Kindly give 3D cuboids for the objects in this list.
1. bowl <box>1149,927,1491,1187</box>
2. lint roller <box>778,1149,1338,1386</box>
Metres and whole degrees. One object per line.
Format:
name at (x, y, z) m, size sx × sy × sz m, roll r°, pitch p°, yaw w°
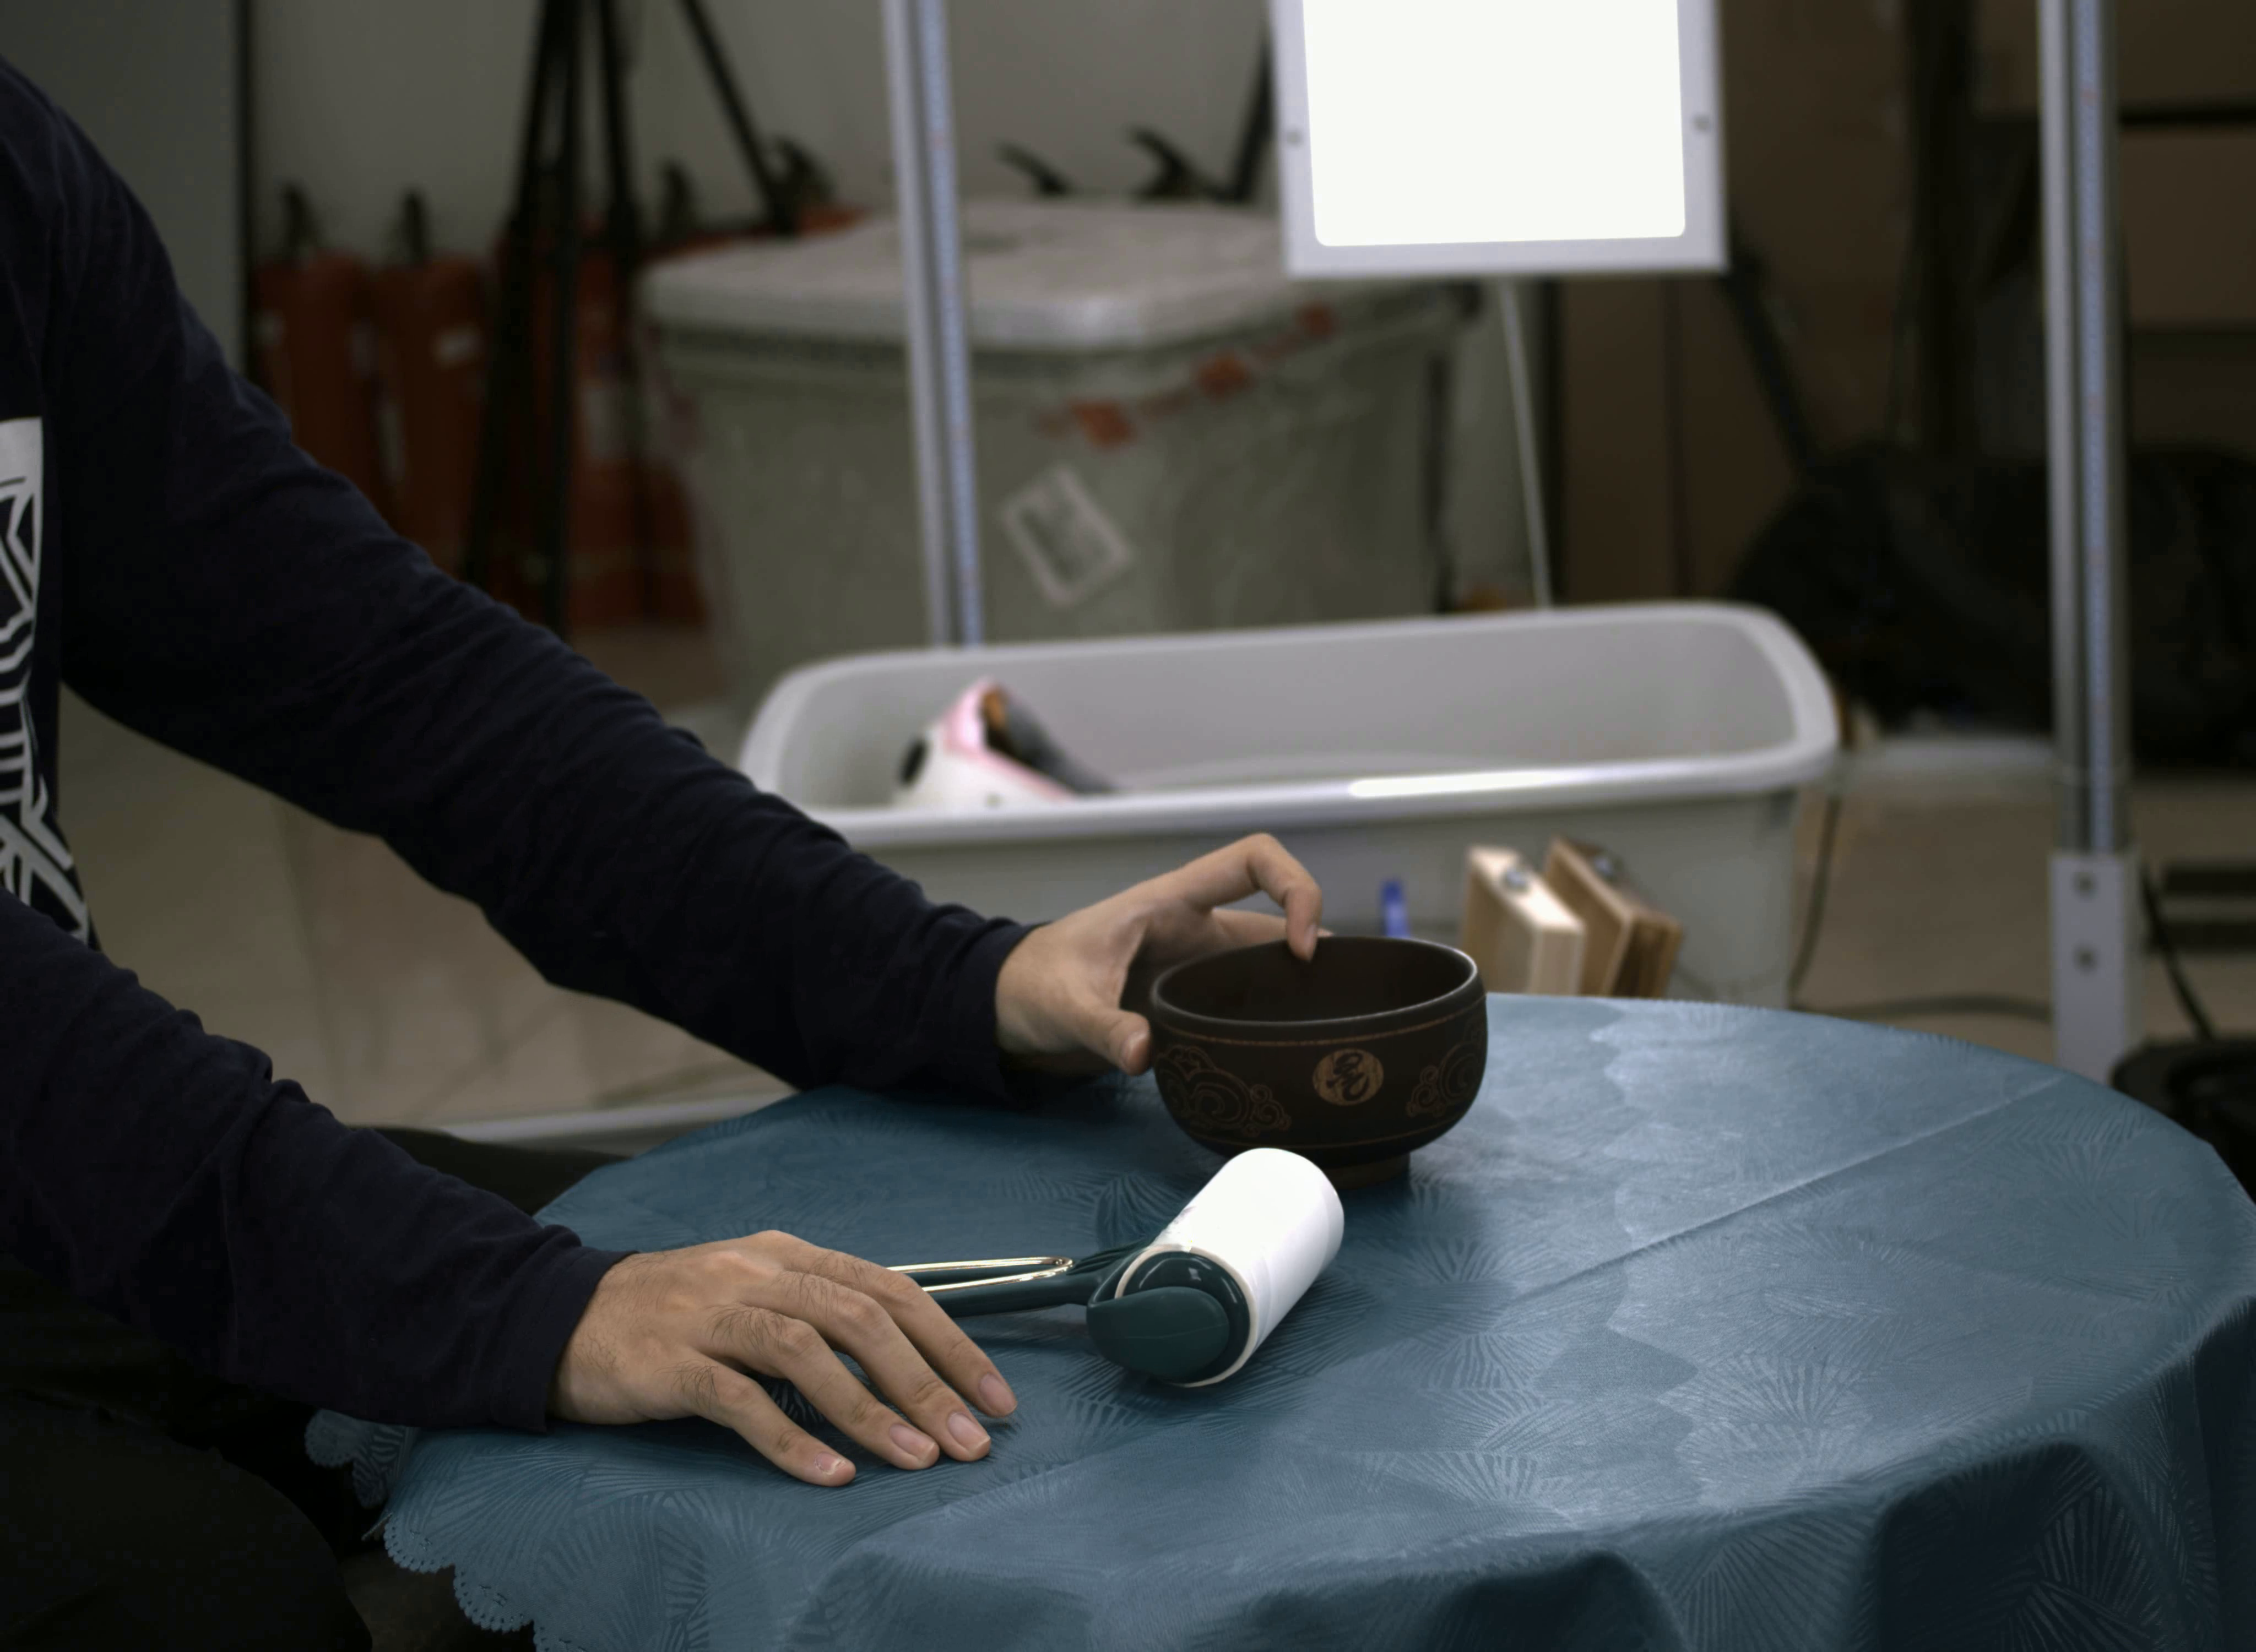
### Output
bowl at (0.068, 0.084, 1.902) m, size 0.118 × 0.070 × 0.118 m, roll -8°, pitch 15°, yaw 1°
lint roller at (-0.031, 0.142, 1.766) m, size 0.182 × 0.048 × 0.132 m, roll -3°, pitch 13°, yaw 20°
